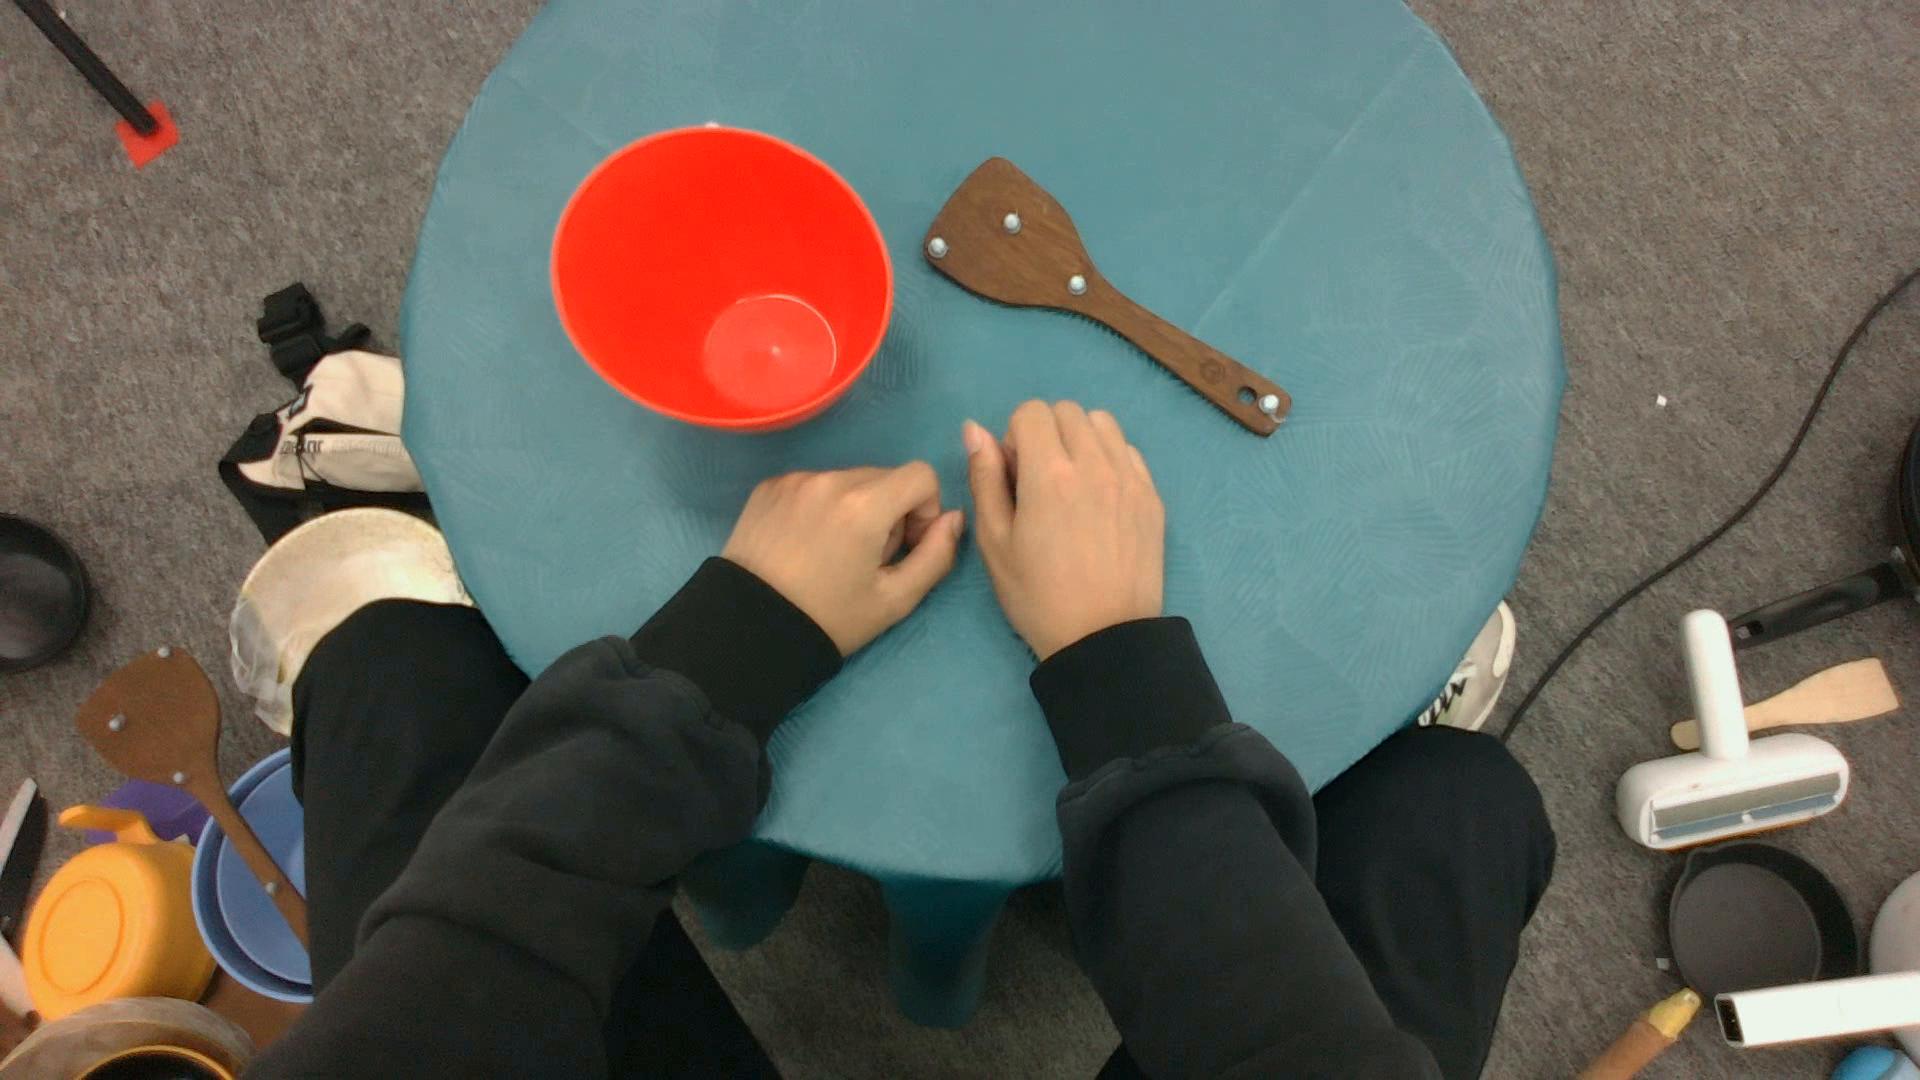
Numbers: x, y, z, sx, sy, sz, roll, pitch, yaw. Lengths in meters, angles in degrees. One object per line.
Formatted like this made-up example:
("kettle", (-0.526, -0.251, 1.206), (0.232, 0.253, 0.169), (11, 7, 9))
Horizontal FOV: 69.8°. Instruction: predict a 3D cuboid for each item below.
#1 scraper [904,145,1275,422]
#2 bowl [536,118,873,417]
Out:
("scraper", (0.070, -0.127, 0.717), (0.211, 0.011, 0.076), (35, 76, 8))
("bowl", (-0.115, -0.115, 0.658), (0.148, 0.104, 0.148), (1, 72, -2))
